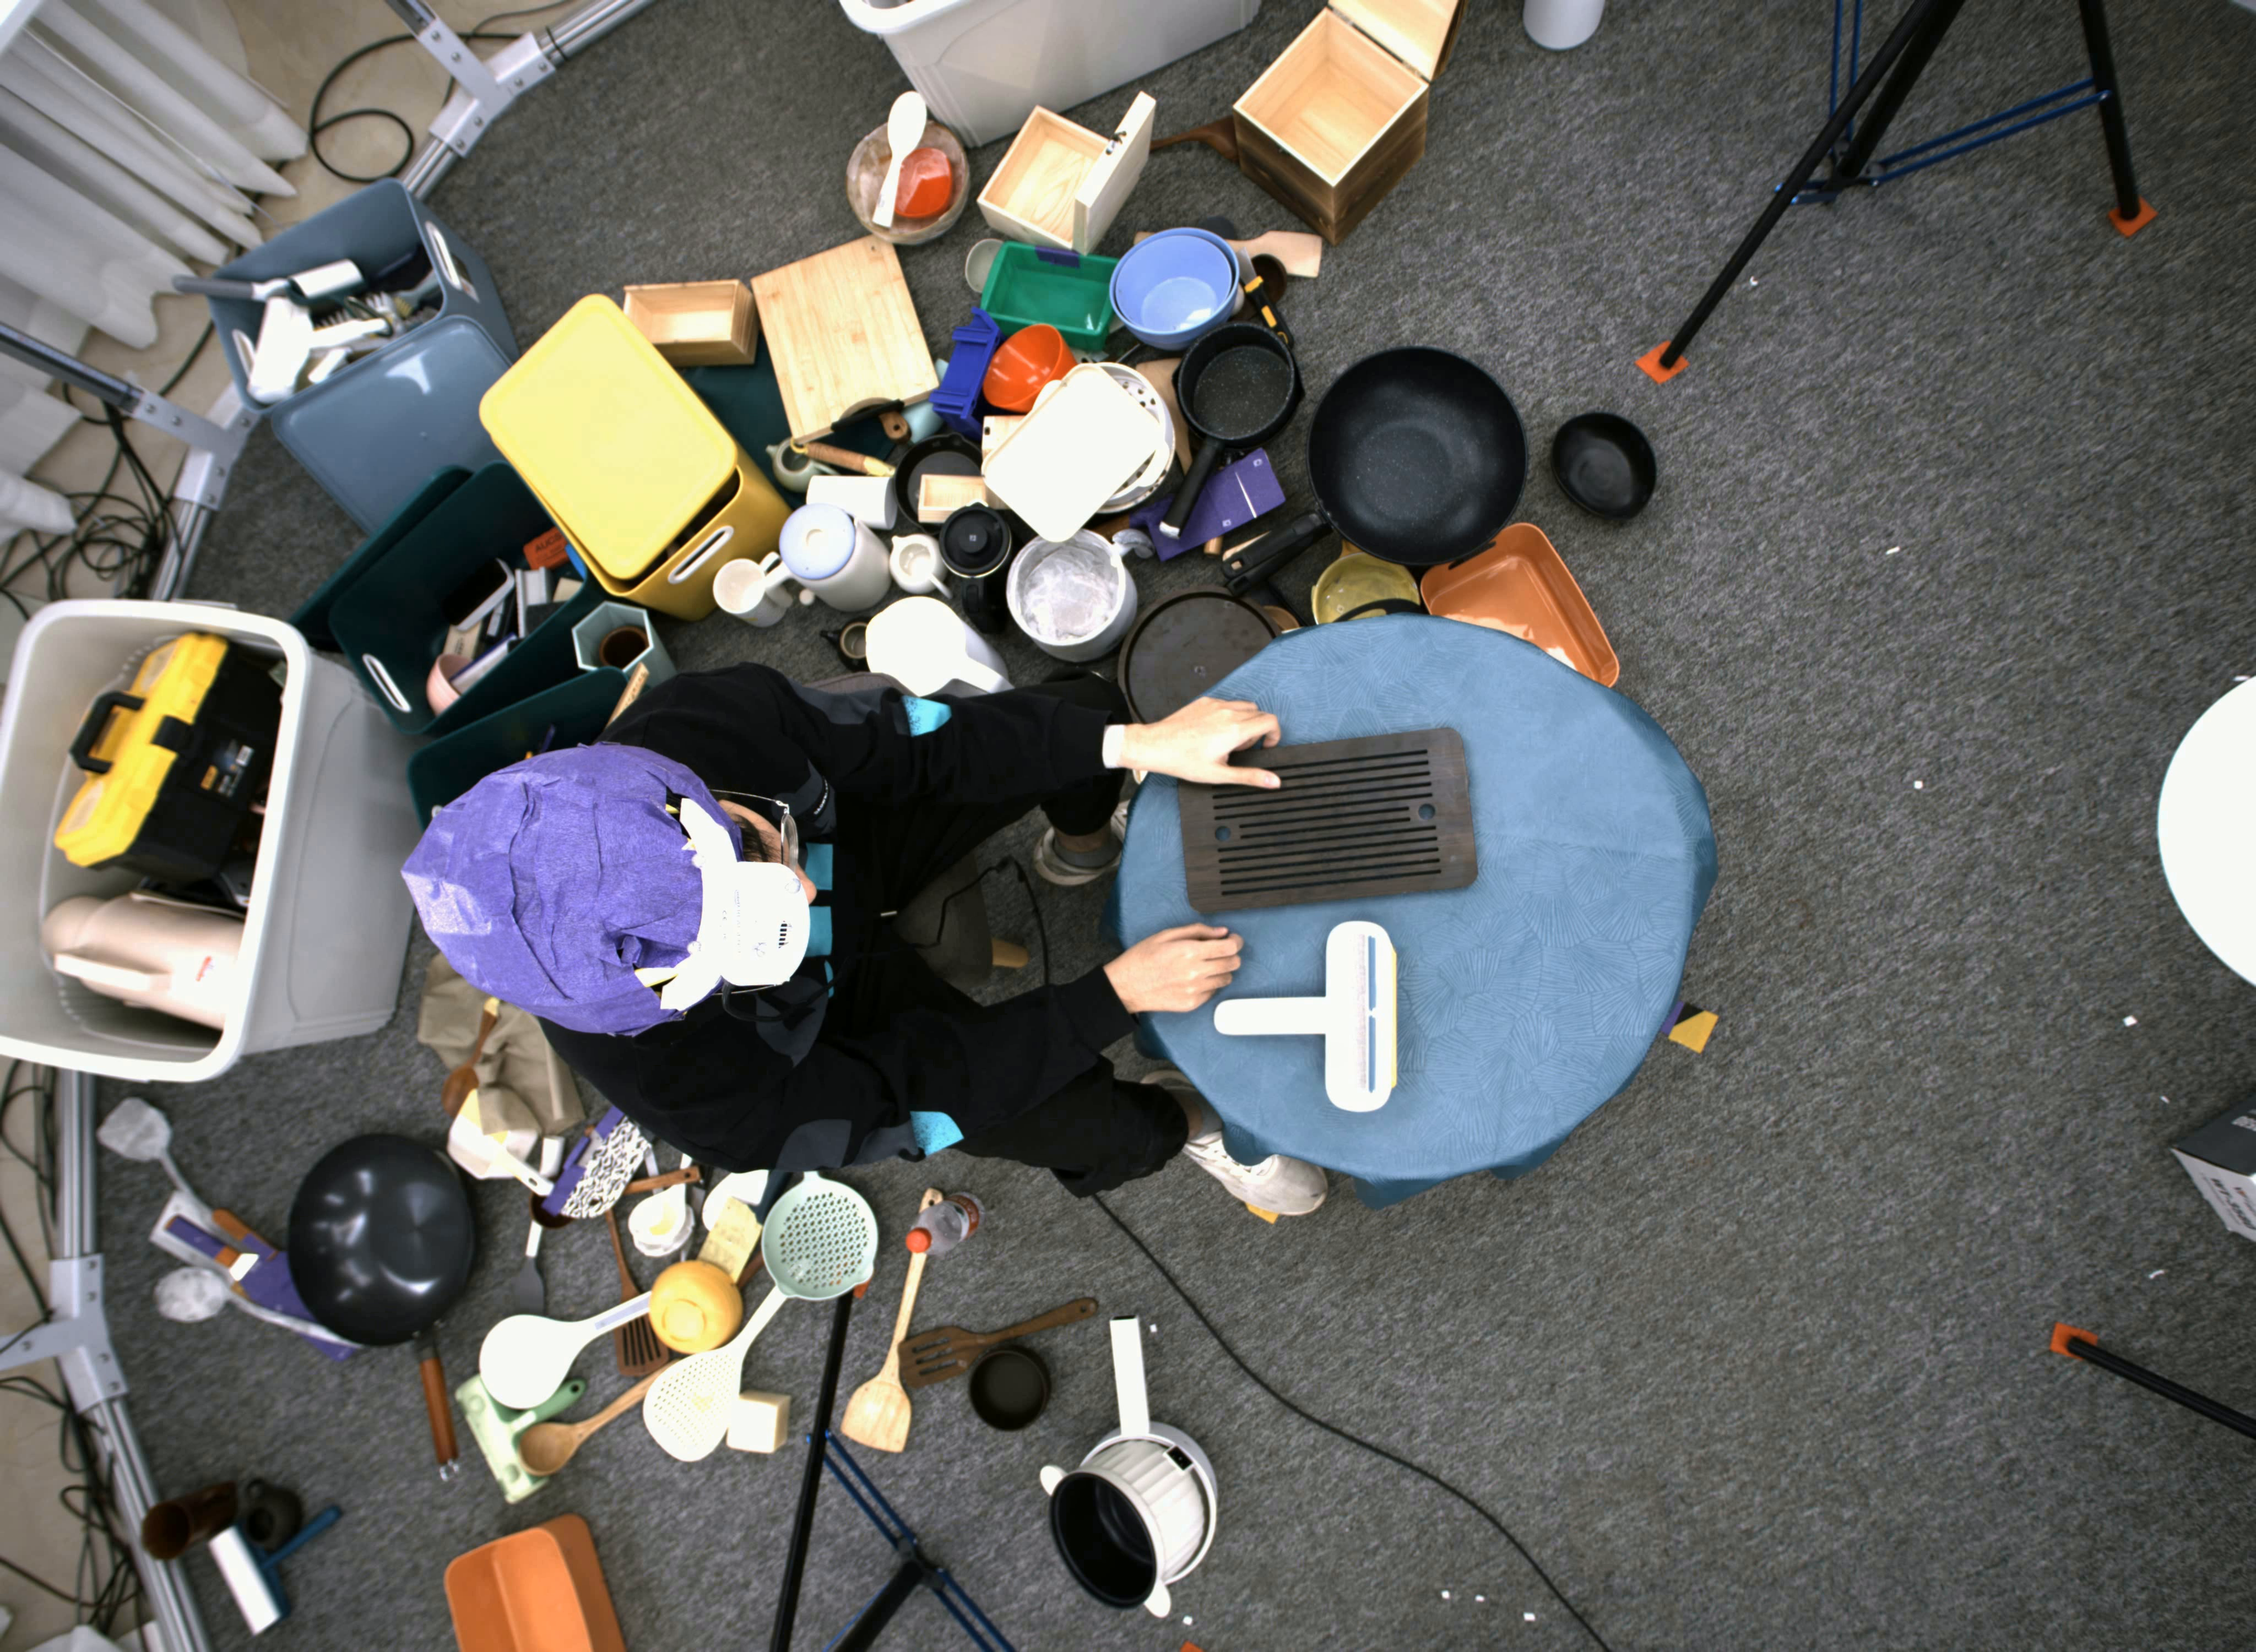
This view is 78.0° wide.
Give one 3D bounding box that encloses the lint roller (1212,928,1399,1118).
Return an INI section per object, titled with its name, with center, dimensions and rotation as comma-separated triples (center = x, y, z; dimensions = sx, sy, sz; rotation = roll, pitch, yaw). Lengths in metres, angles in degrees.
[lint roller]
center = 0.179, 0.198, 1.432
dimensions = 0.193, 0.074, 0.191
rotation = 3, 82, 12

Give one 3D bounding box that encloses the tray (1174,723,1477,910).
[tray]
center = 0.206, -0.010, 1.462
dimensions = 0.307, 0.018, 0.169
rotation = -6, 86, 10
